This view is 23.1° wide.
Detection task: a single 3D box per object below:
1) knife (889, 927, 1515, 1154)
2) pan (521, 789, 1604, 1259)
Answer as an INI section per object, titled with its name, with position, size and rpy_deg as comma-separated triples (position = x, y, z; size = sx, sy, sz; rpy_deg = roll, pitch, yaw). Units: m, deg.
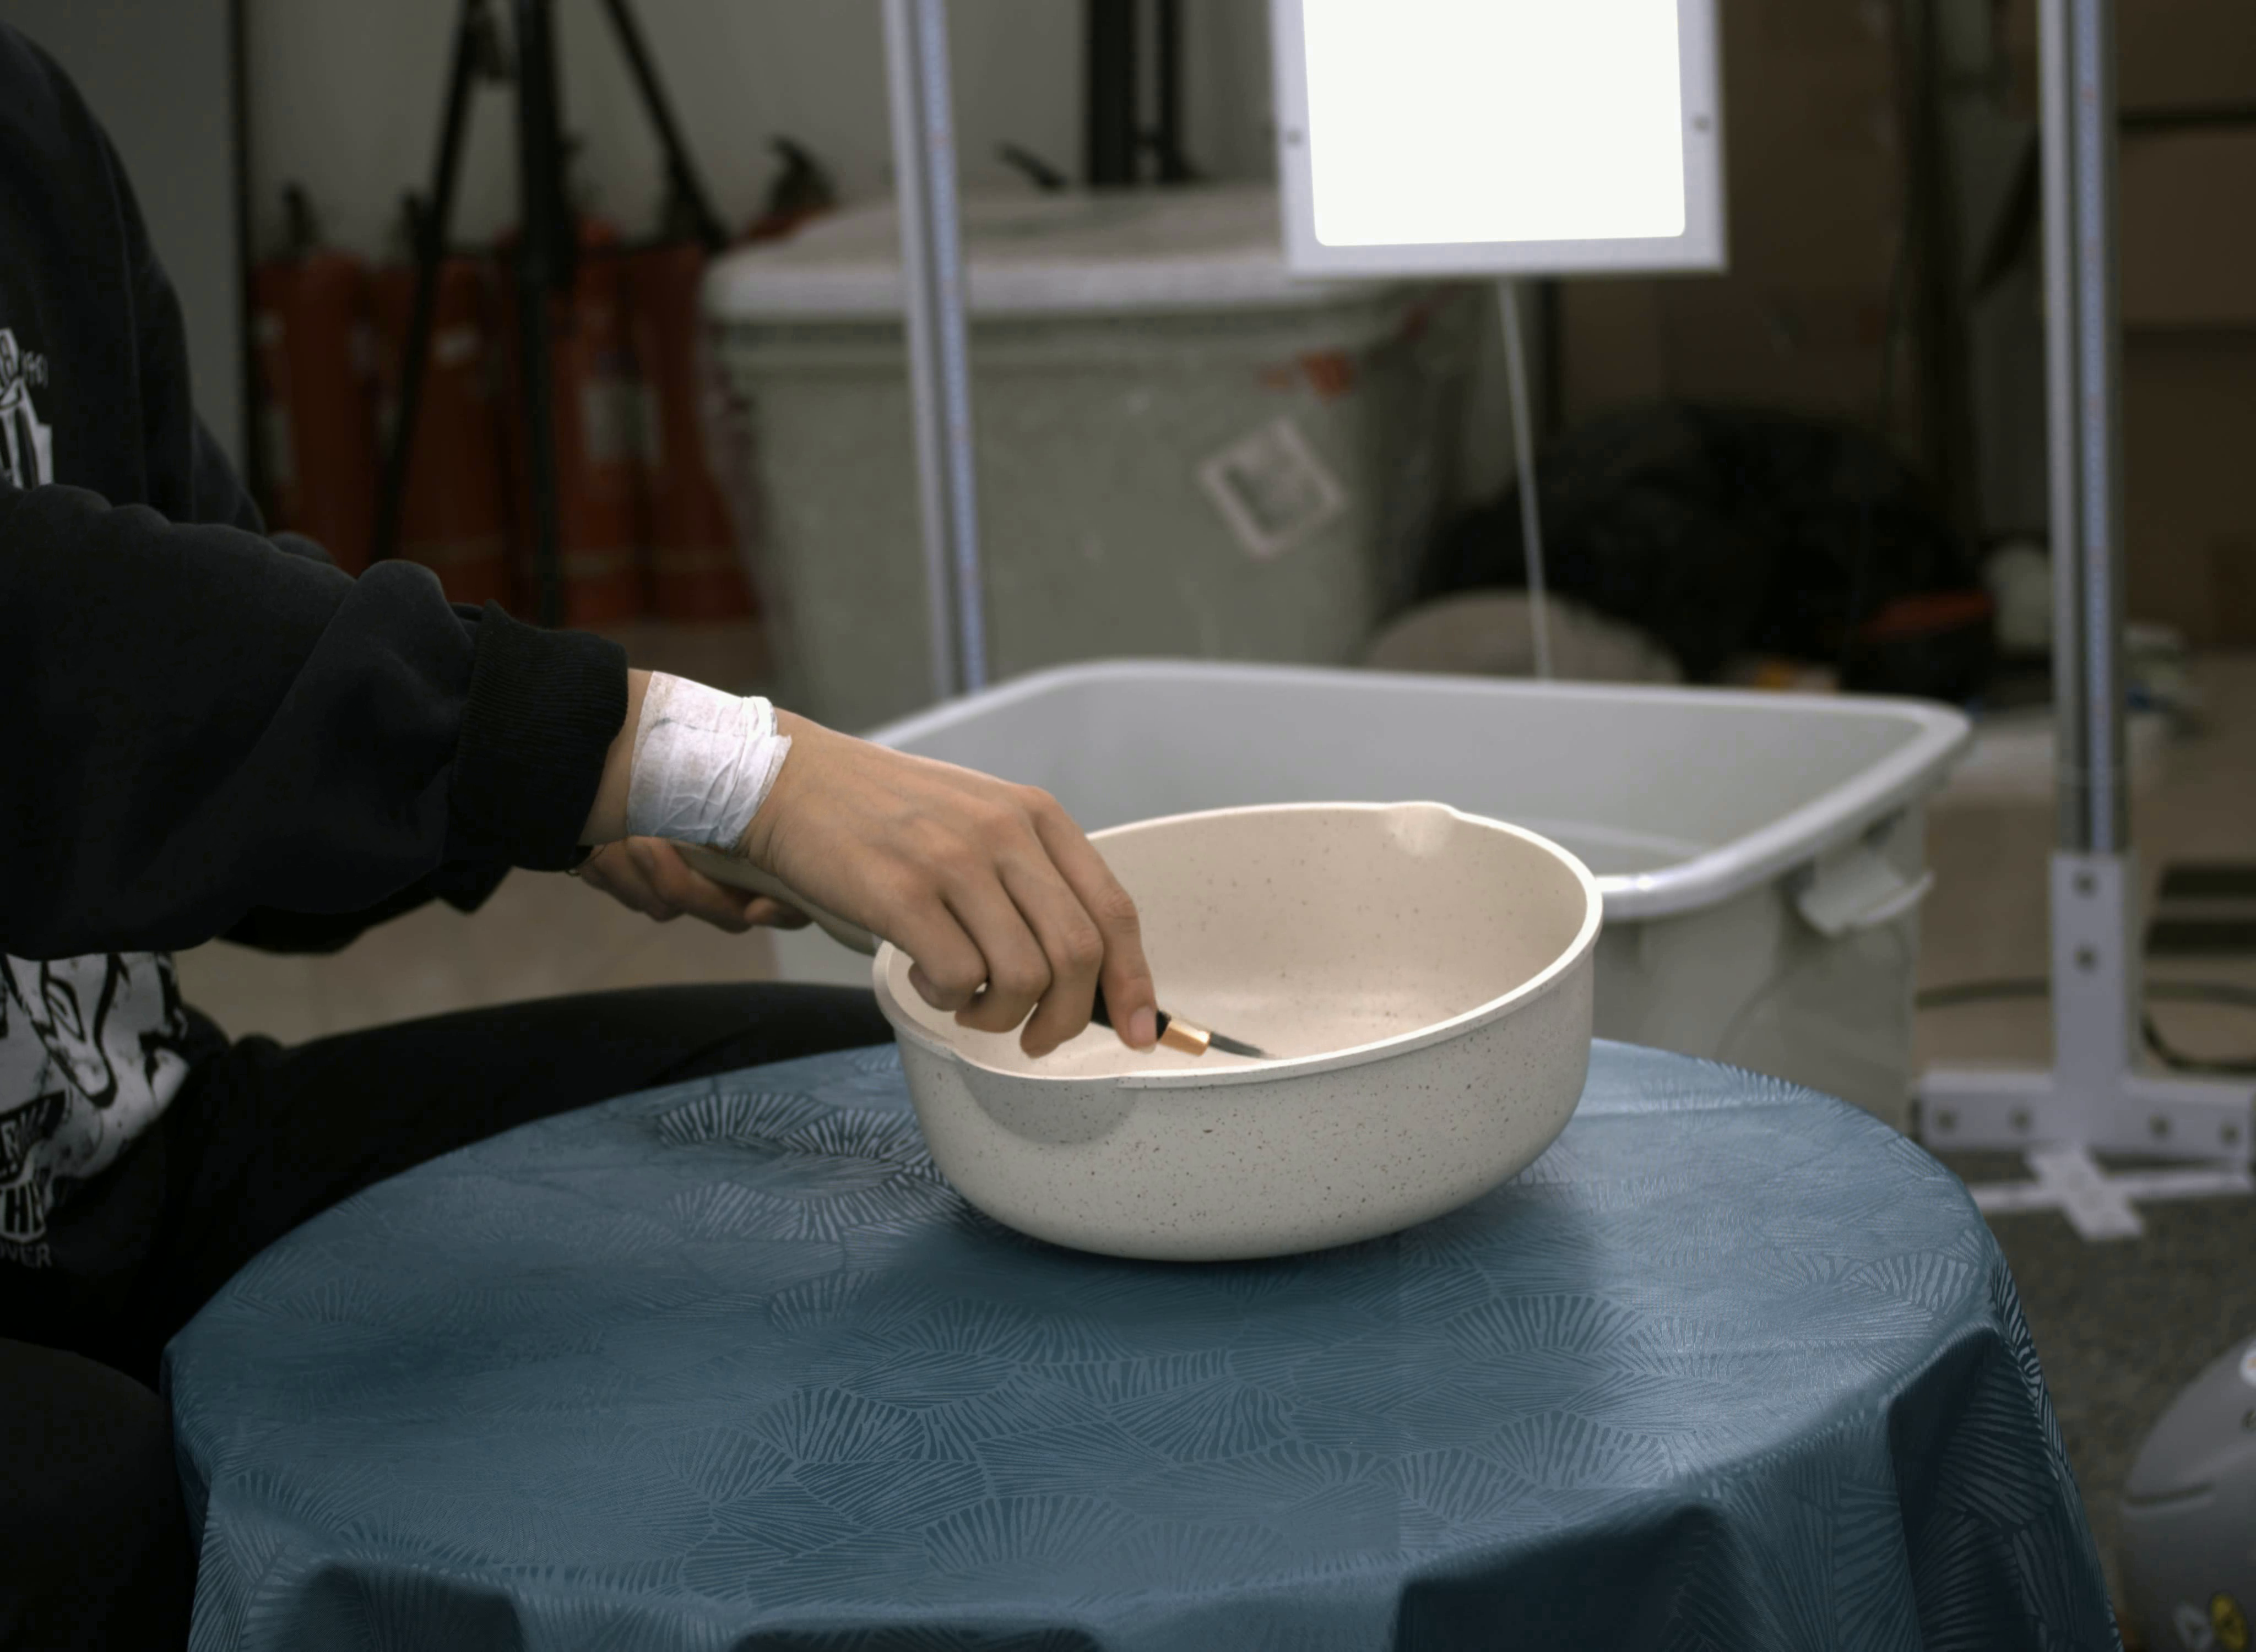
[knife]
position = 0.026, 0.074, 1.838
size = 0.224, 0.017, 0.026
rpy_deg = 19, -1, -5
[pan]
position = -0.034, 0.056, 1.945
size = 0.444, 0.102, 0.257
rpy_deg = 6, 25, 35
